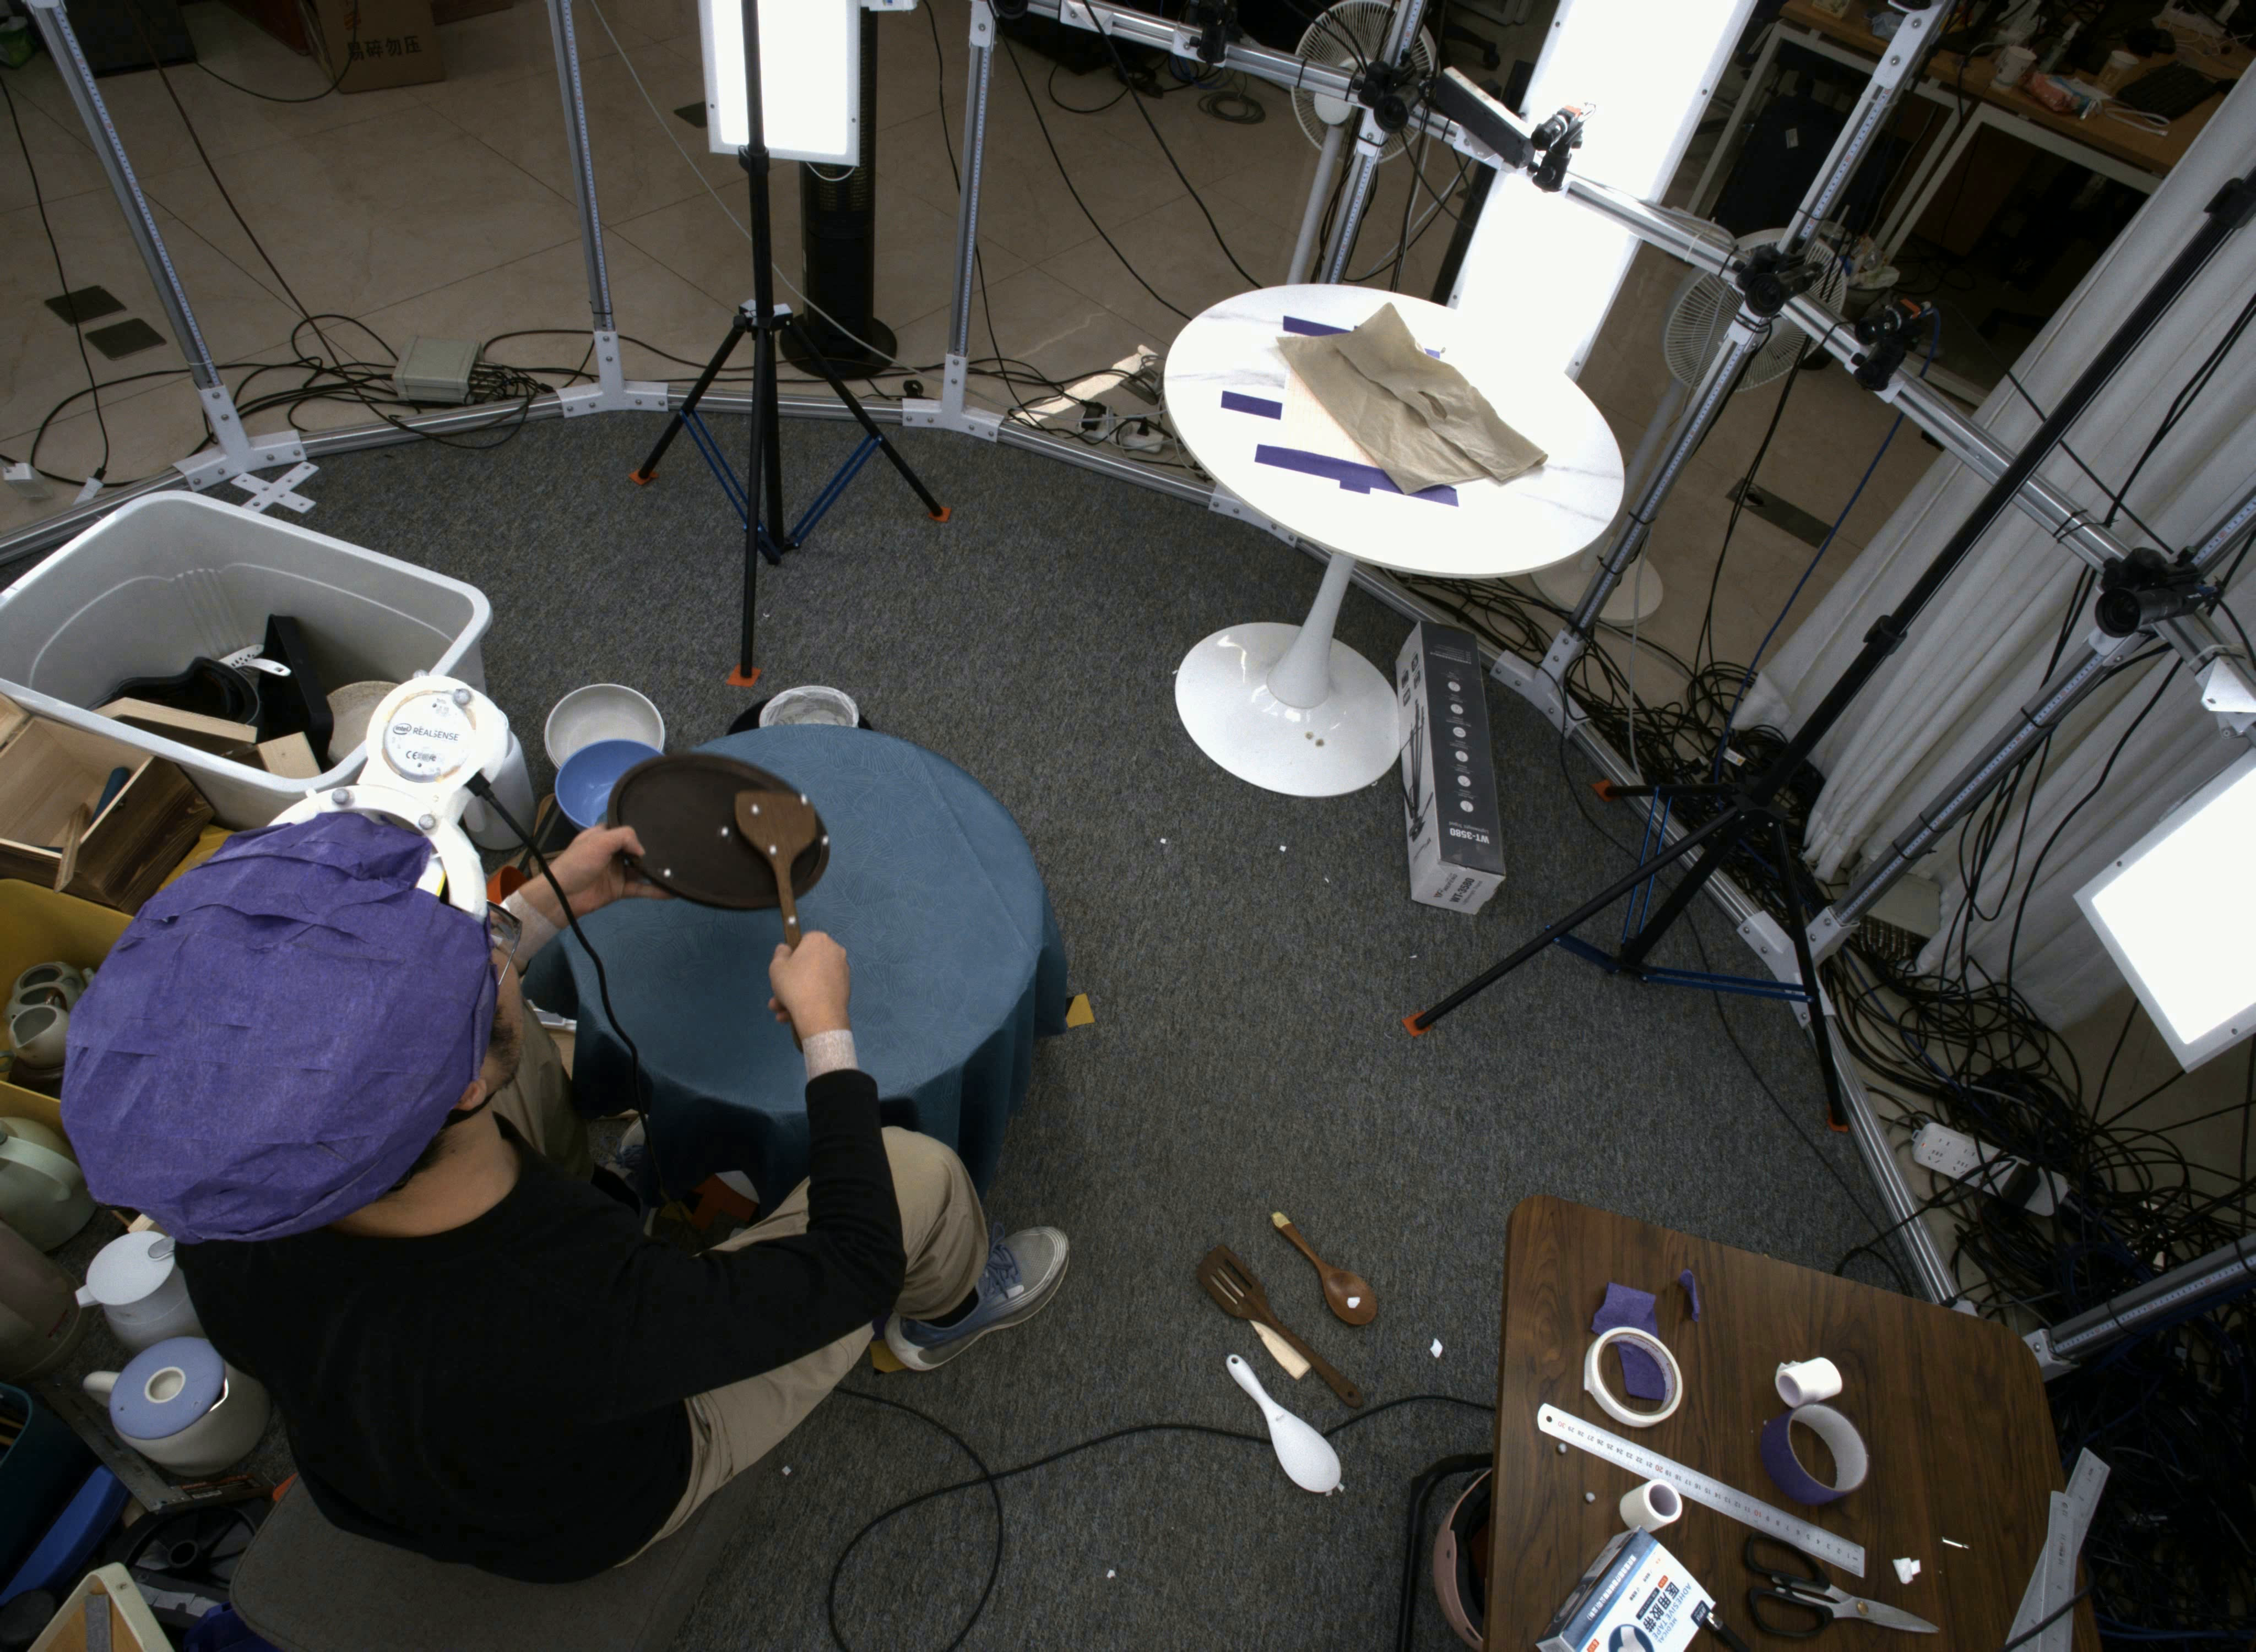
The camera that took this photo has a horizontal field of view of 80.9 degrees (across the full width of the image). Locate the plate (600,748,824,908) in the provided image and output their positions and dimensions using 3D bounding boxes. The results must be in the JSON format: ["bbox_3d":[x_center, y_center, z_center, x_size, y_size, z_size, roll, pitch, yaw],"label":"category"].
[{"bbox_3d":[-0.468,-0.001,1.447,0.257,0.029,0.249,23,33,-14],"label":"plate"}]

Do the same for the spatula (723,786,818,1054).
[{"bbox_3d":[-0.371,0.085,1.388,0.097,0.016,0.374,6,42,-30],"label":"spatula"}]
